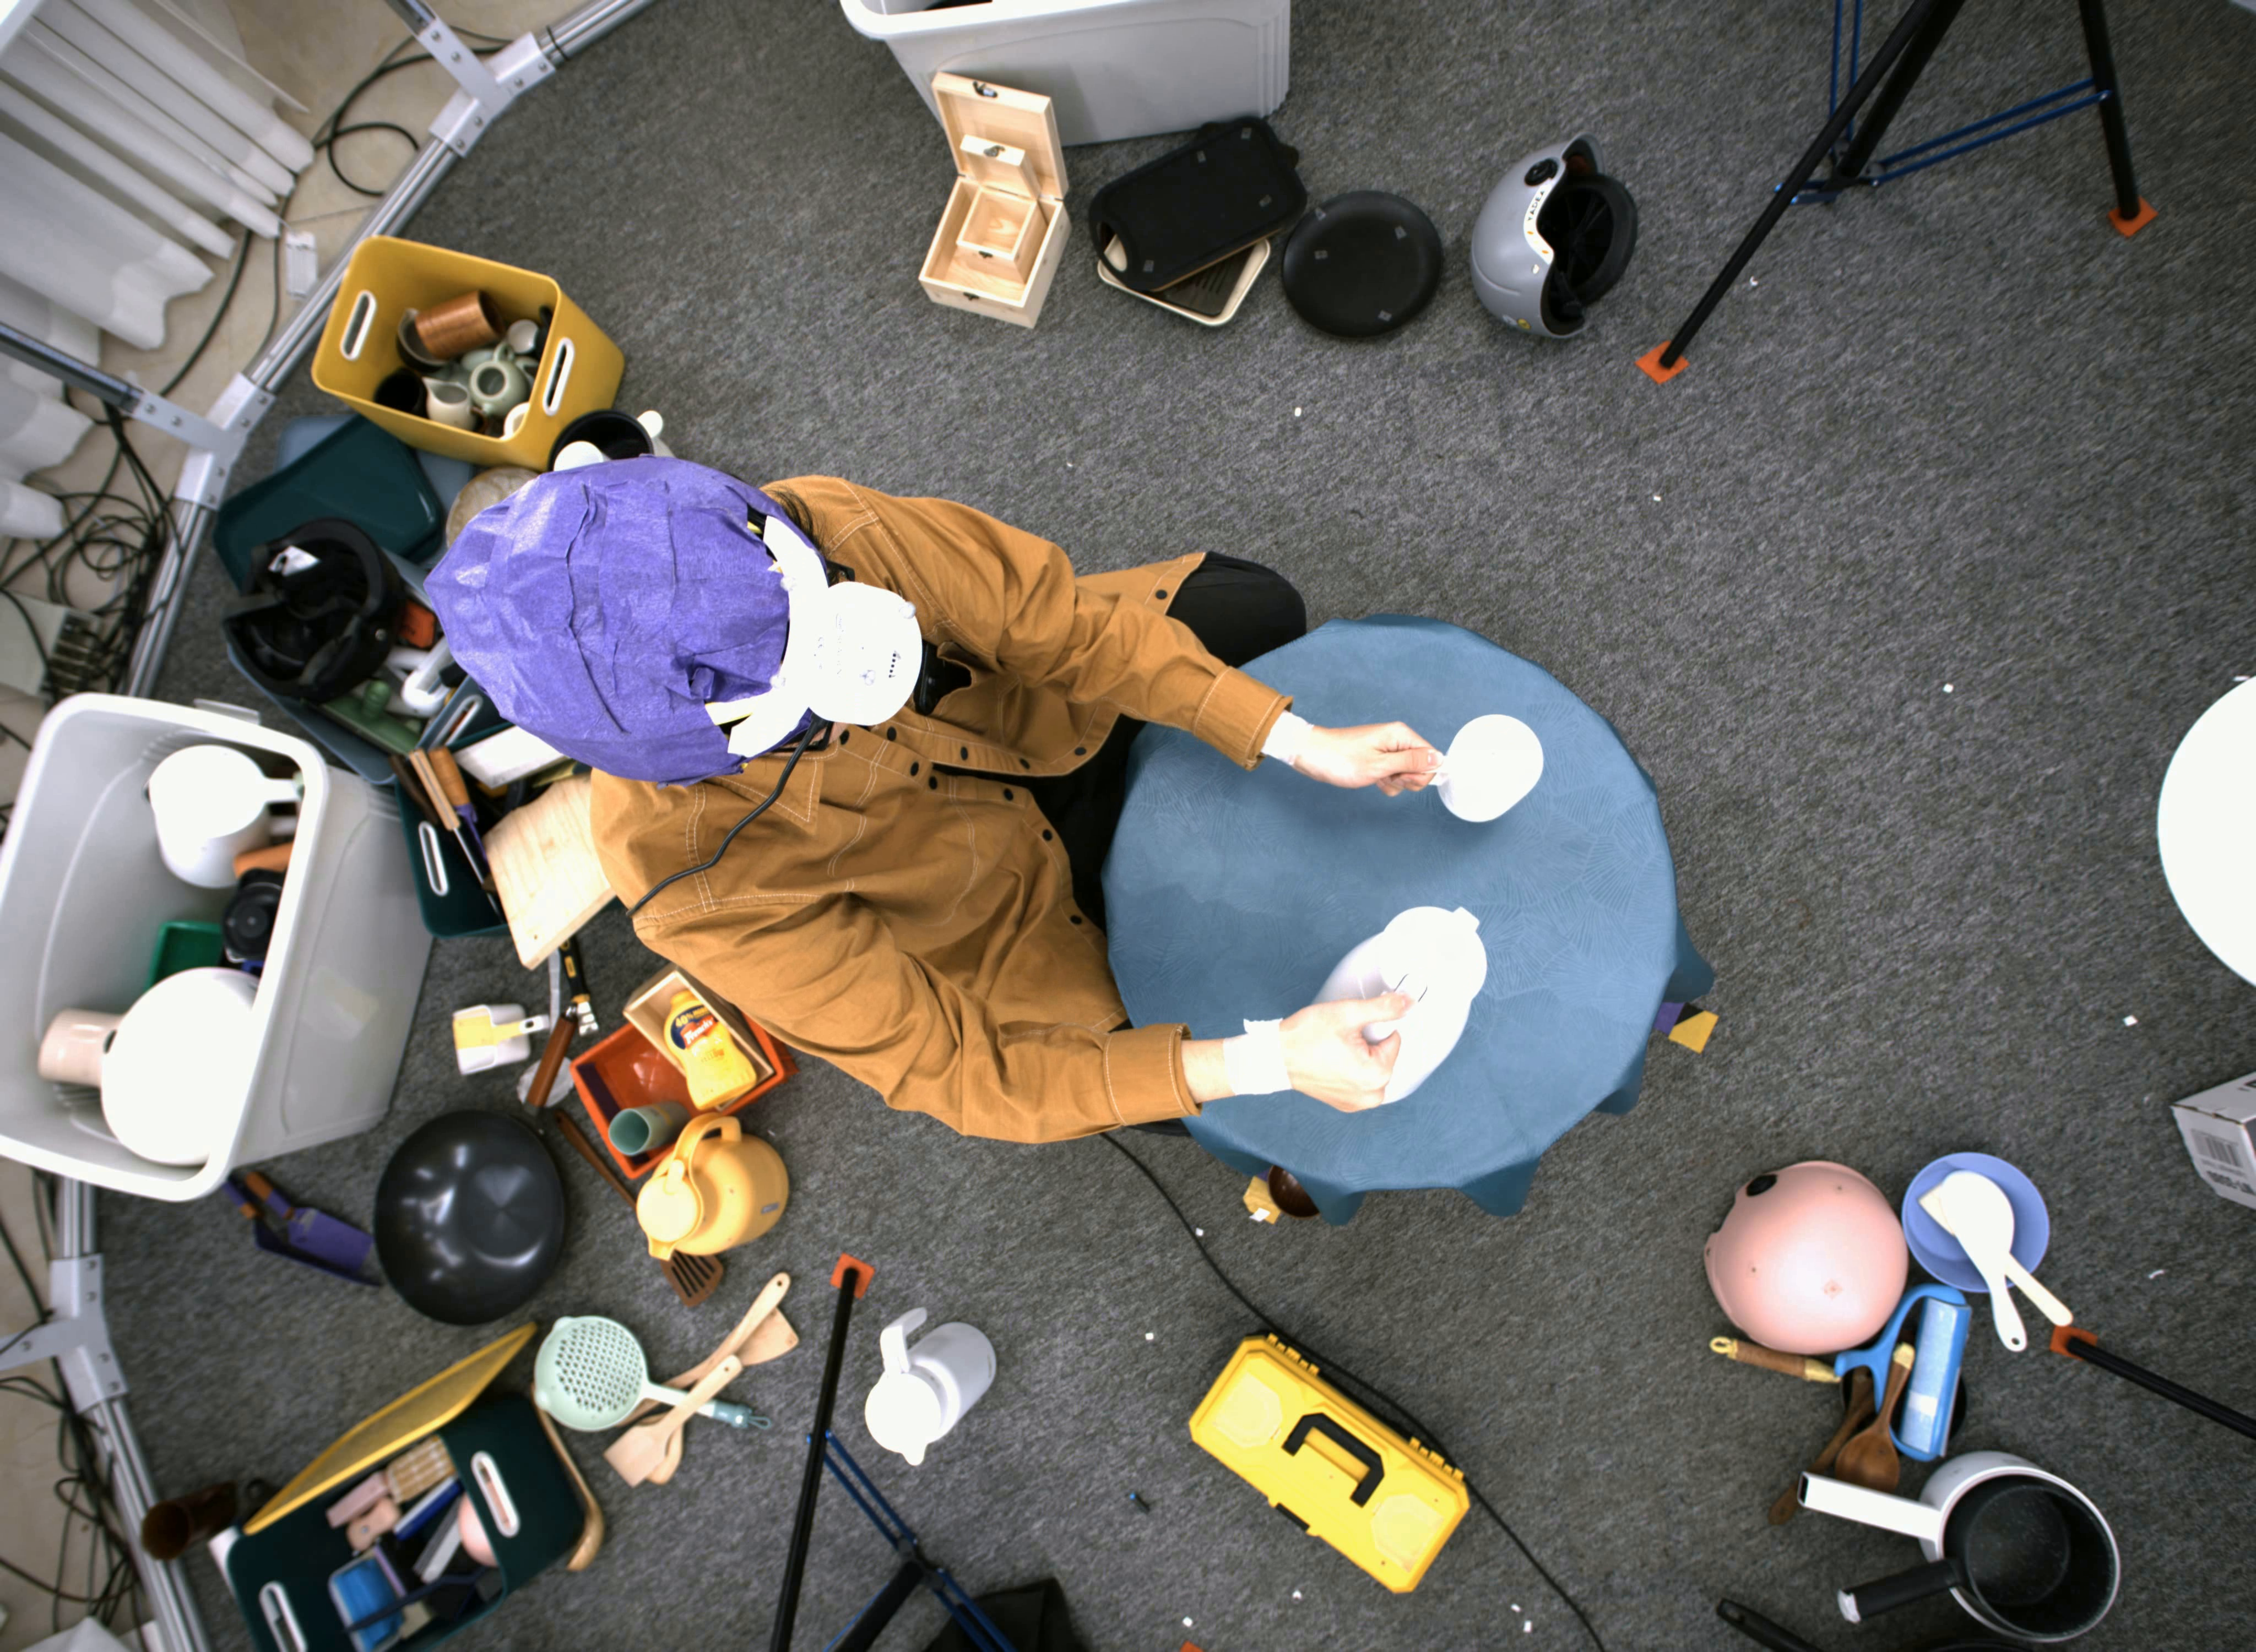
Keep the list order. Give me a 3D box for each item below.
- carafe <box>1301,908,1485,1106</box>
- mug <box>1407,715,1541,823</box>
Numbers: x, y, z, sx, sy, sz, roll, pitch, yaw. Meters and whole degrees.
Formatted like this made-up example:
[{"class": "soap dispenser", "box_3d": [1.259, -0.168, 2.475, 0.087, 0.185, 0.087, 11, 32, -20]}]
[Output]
[{"class": "carafe", "box_3d": [0.232, 0.172, 1.244, 0.132, 0.253, 0.165, 38, 70, 12]}, {"class": "mug", "box_3d": [0.330, -0.054, 1.331, 0.118, 0.103, 0.084, -3, 79, 5]}]
